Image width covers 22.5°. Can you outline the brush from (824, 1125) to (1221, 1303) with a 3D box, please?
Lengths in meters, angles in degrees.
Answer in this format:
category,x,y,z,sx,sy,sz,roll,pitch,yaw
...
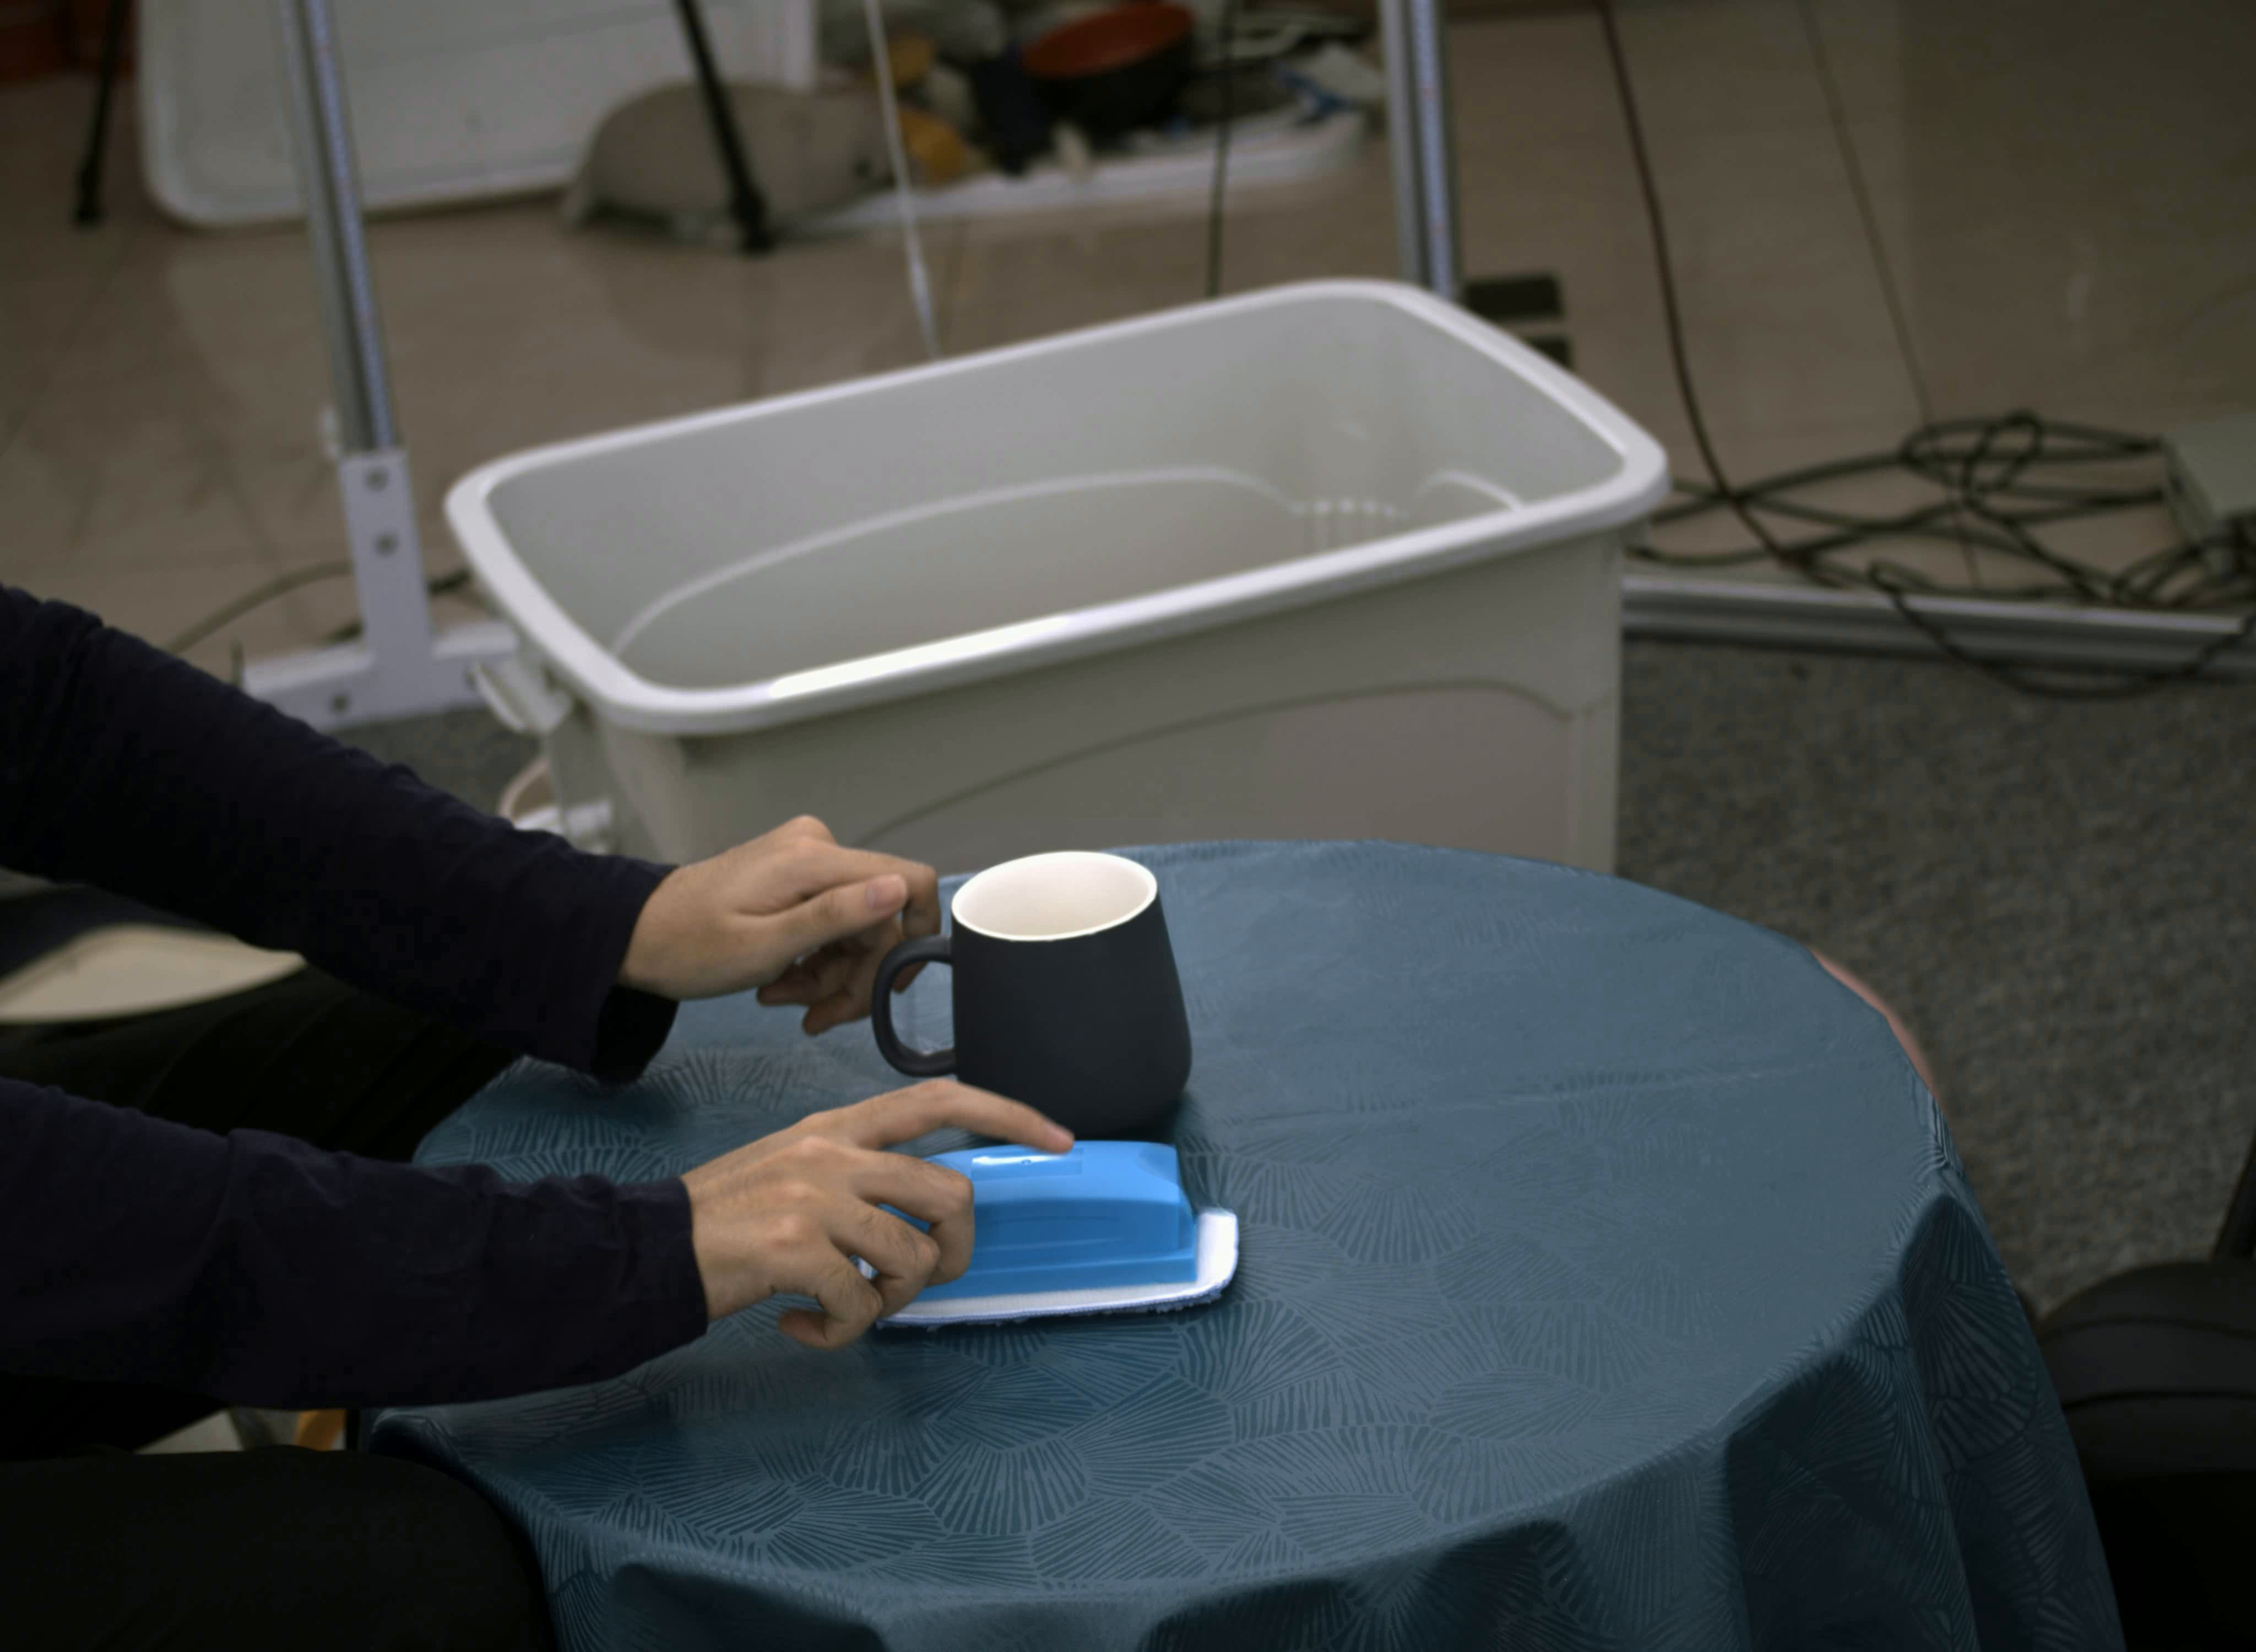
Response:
category,x,y,z,sx,sy,sz,roll,pitch,yaw
brush,-0.039,0.140,2.081,0.144,0.057,0.083,-1,23,5

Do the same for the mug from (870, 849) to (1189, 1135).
category,x,y,z,sx,sy,sz,roll,pitch,yaw
mug,-0.039,0.065,2.201,0.123,0.091,0.092,-2,24,4
